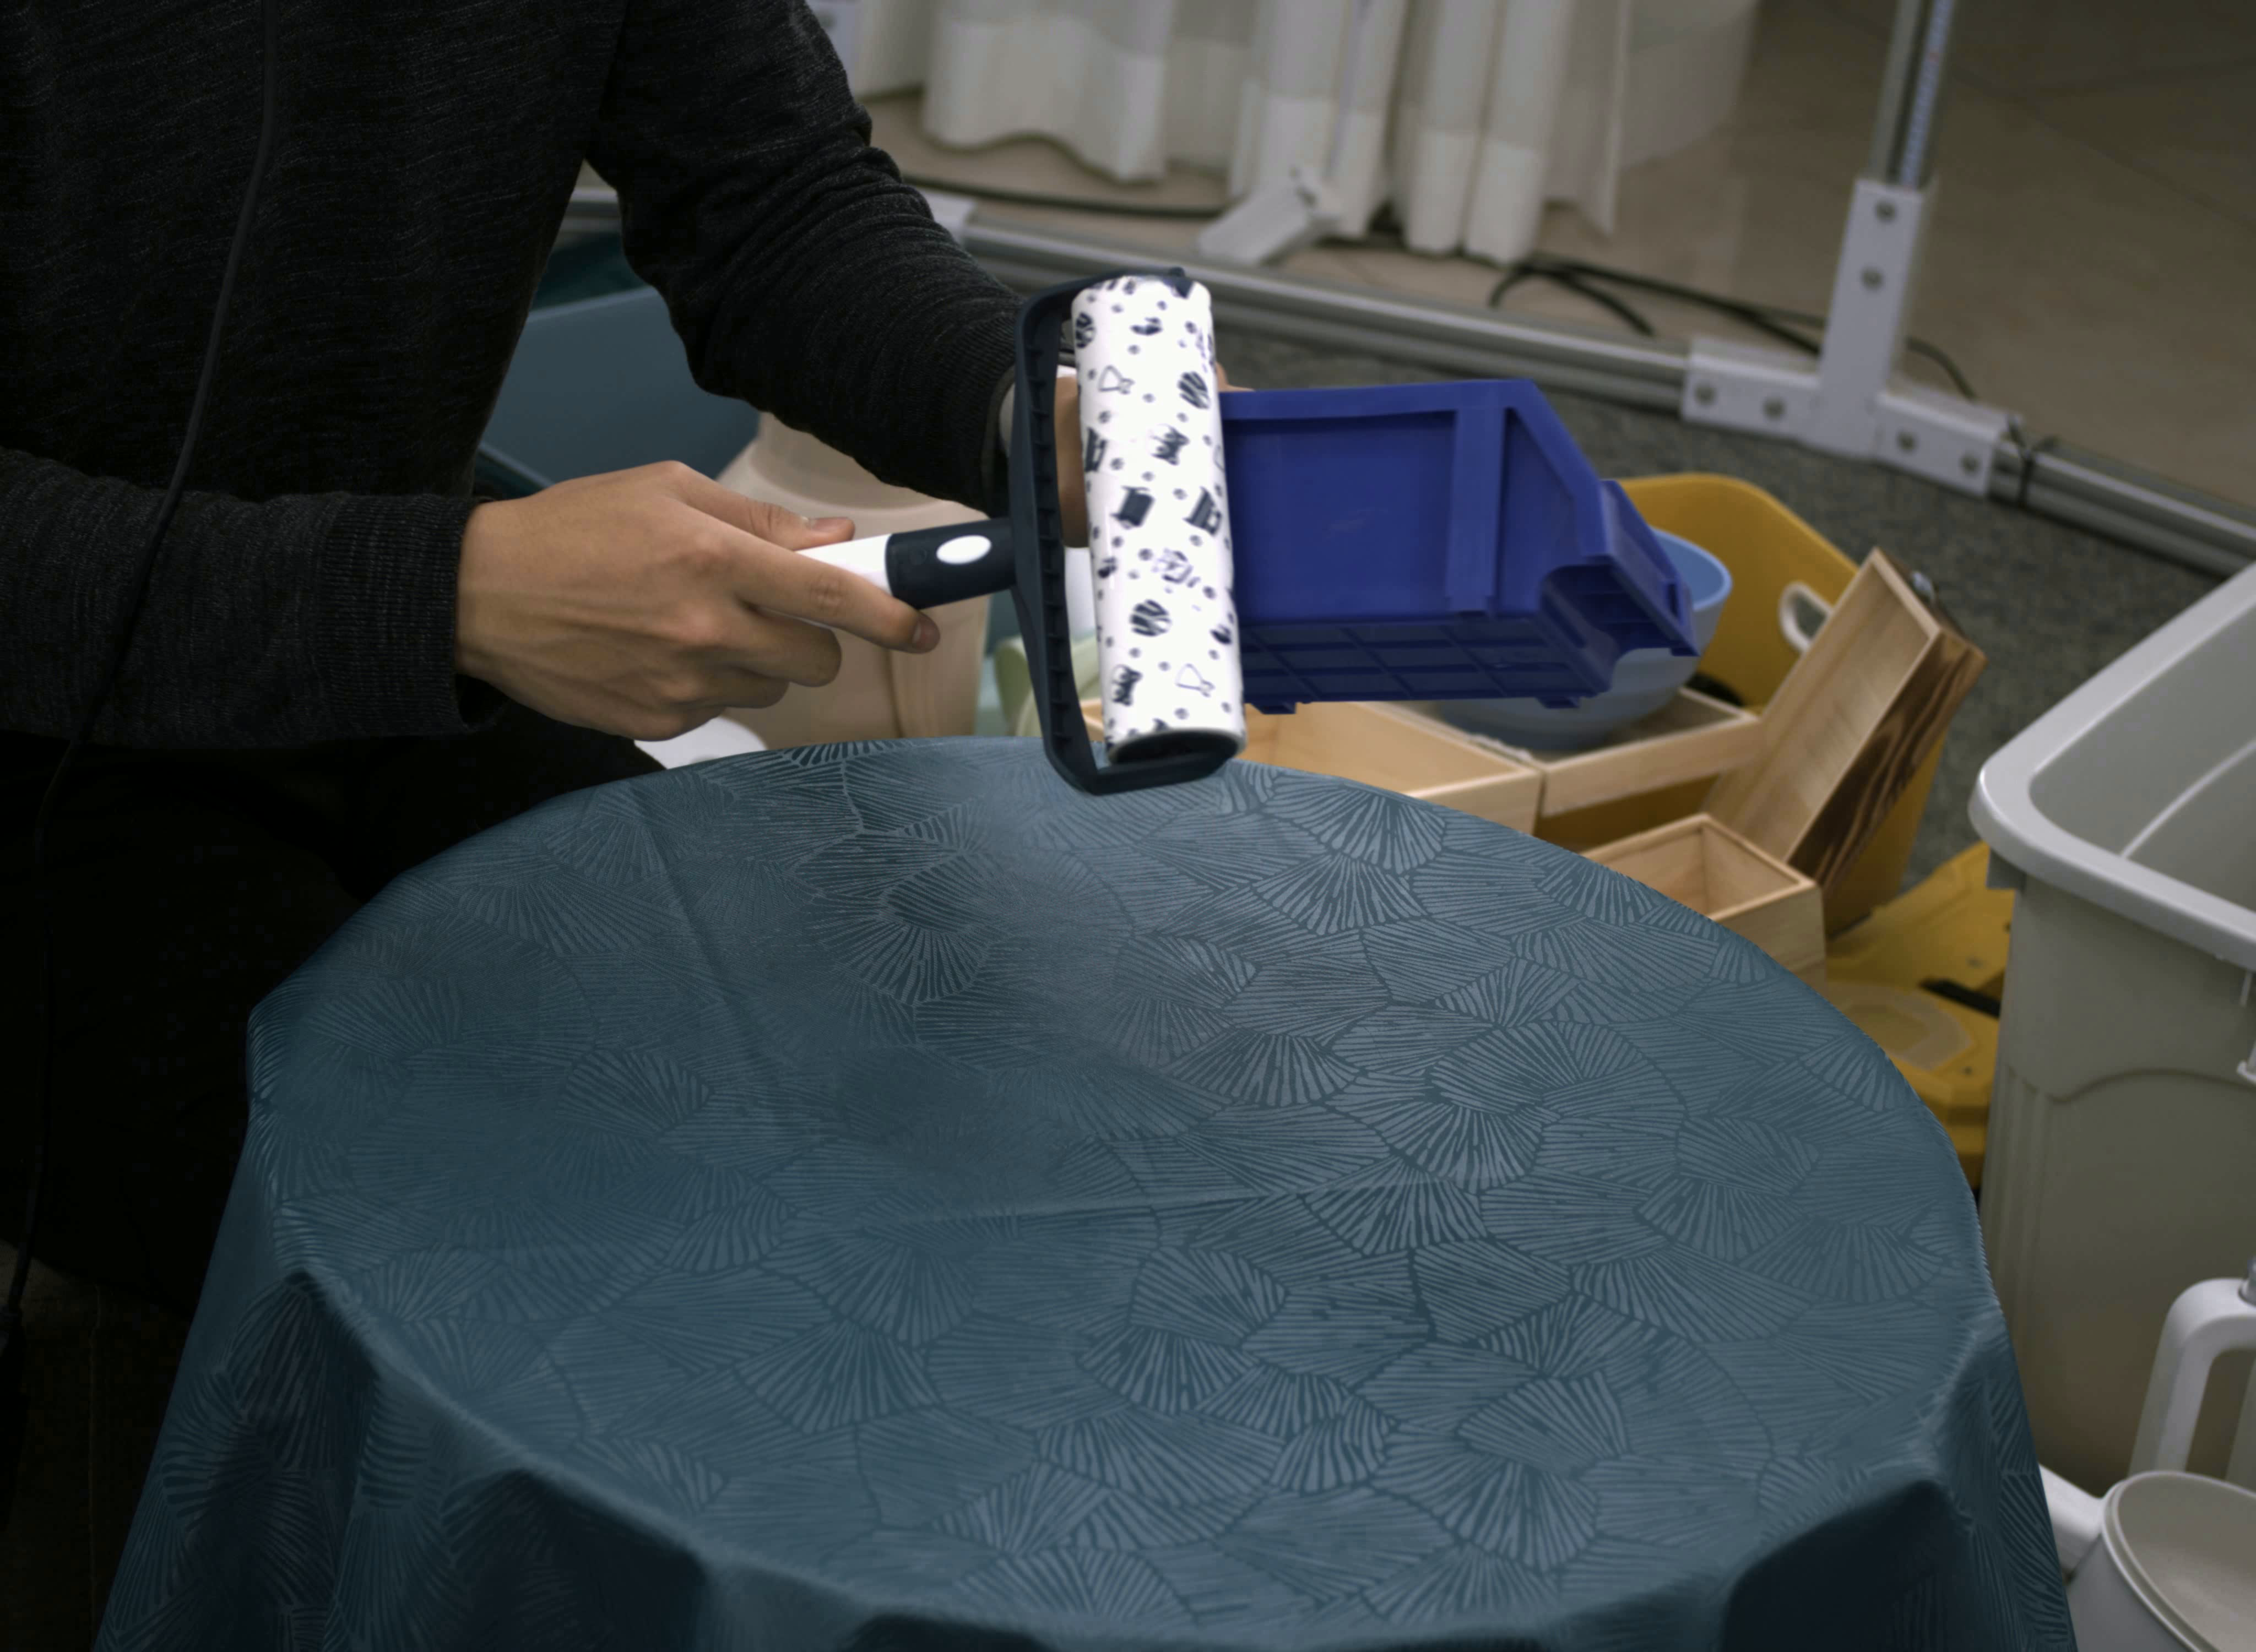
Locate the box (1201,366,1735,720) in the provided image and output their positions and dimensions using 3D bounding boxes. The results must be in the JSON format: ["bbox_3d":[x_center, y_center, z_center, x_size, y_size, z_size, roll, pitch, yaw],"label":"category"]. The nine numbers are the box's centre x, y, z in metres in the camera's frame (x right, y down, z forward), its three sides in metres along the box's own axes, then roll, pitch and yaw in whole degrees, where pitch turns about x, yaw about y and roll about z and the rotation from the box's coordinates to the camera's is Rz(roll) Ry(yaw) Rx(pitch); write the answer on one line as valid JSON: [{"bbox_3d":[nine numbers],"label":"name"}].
[{"bbox_3d":[0.106,-0.094,1.813,0.179,0.082,0.123,-4,-17,21],"label":"box"}]

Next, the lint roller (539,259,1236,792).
[{"bbox_3d":[-0.087,-0.083,1.786,0.247,0.177,0.050,-10,-18,16],"label":"lint roller"}]
